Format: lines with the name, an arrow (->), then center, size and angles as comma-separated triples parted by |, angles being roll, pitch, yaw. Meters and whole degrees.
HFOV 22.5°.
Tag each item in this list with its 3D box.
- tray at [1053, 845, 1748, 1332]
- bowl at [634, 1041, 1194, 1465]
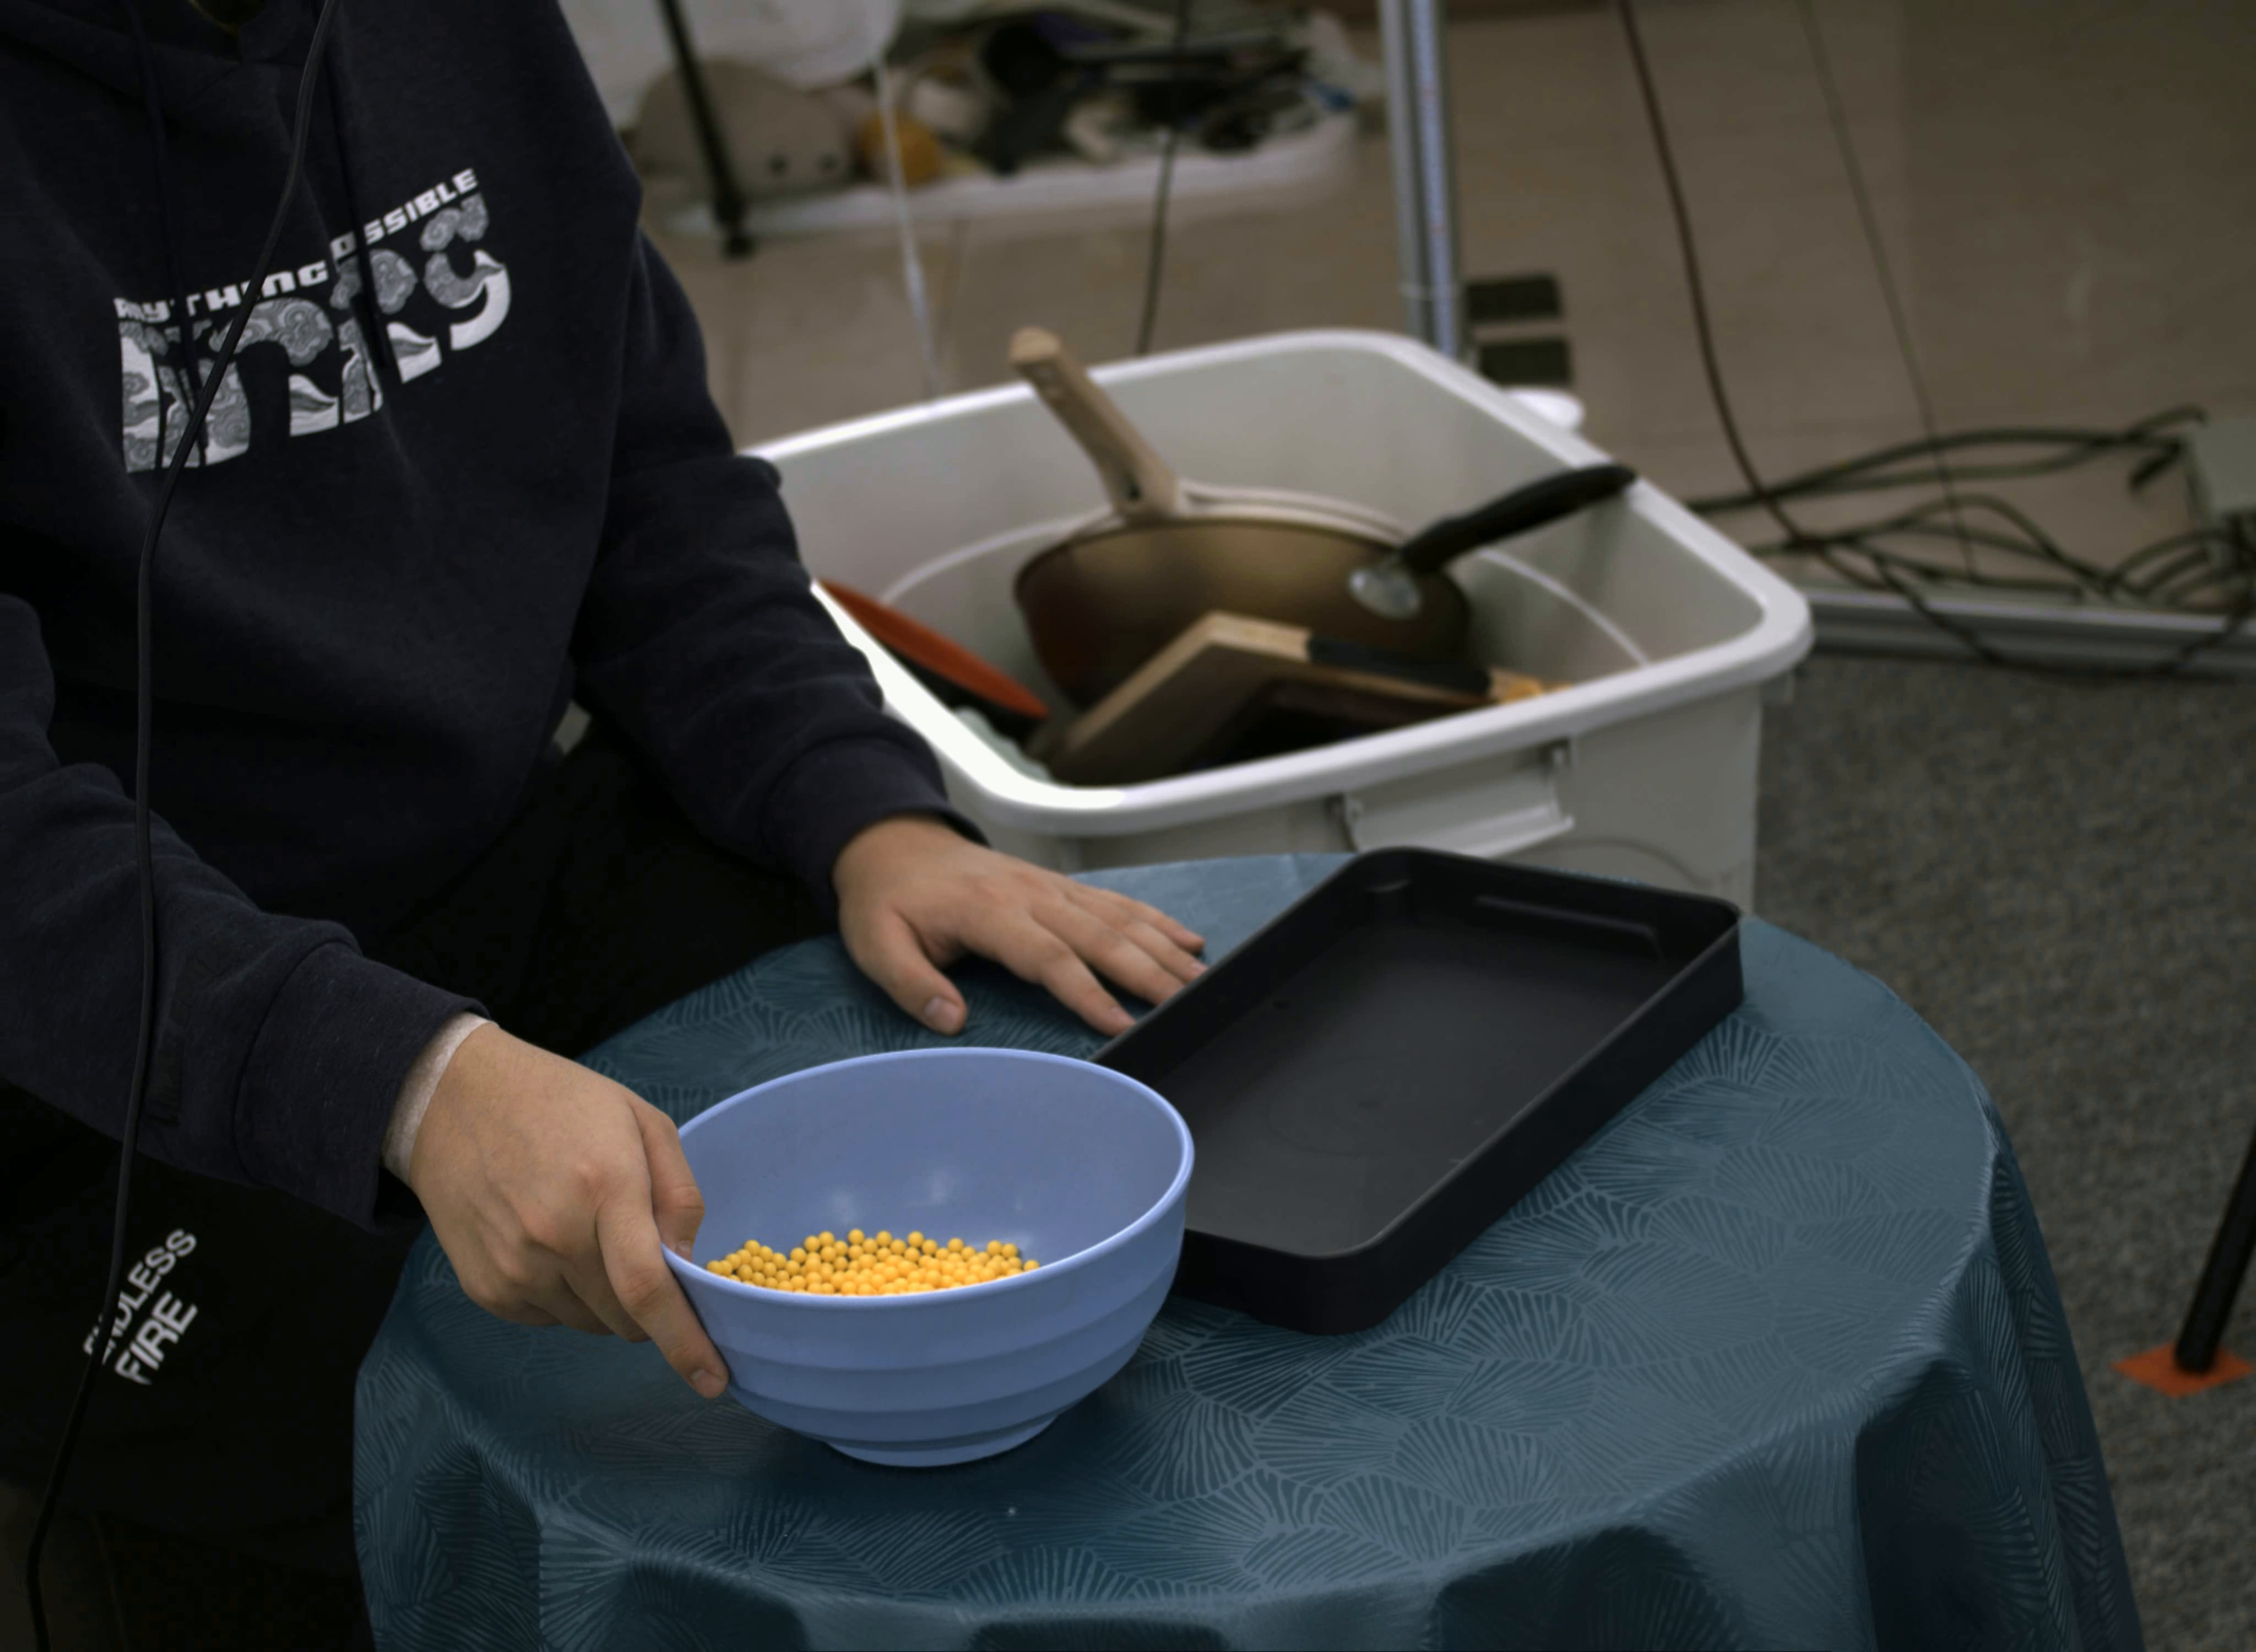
tray -> 0.091, 0.094, 2.177 | 0.183, 0.037, 0.314 | 11, 29, 33
bowl -> -0.071, 0.161, 1.997 | 0.196, 0.097, 0.193 | -4, 25, 2
